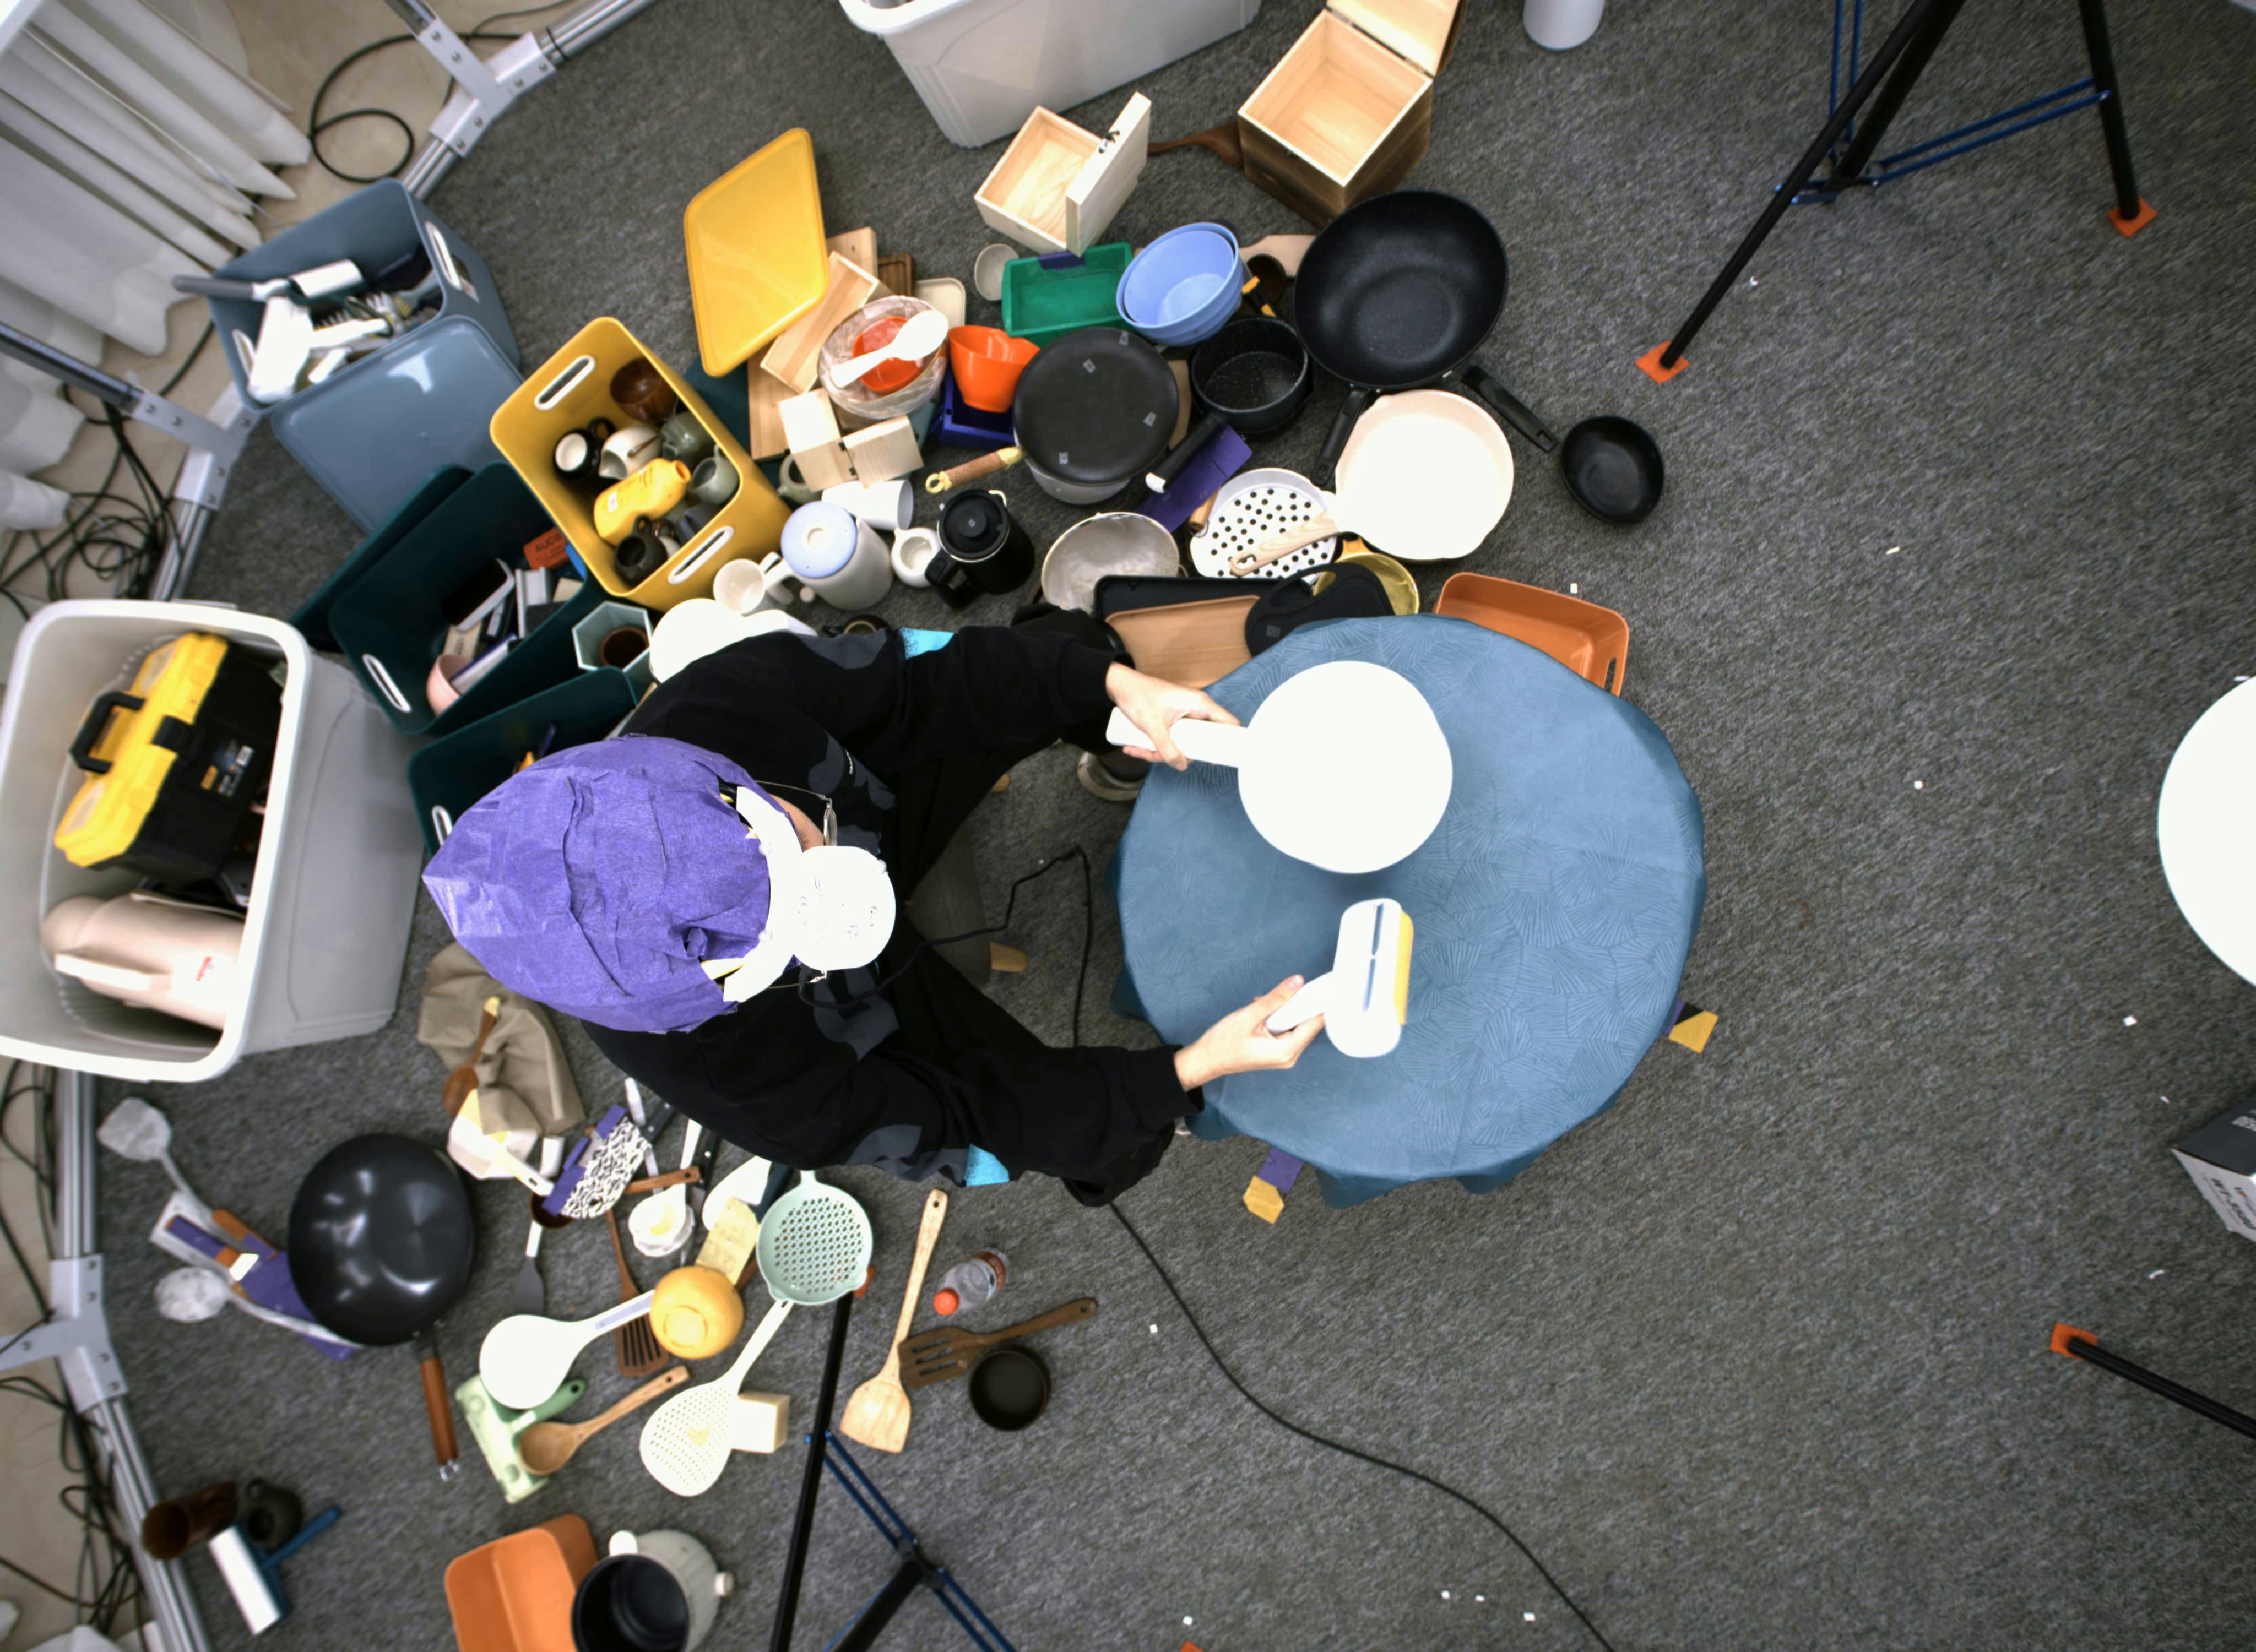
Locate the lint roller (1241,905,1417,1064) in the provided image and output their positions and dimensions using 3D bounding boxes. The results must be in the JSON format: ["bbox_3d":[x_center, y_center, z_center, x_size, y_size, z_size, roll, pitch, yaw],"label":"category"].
[{"bbox_3d":[0.184,0.167,1.350,0.195,0.187,0.075,-19,121,33],"label":"lint roller"}]

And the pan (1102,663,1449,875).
[{"bbox_3d":[0.148,-0.067,1.395,0.355,0.102,0.200,13,85,28],"label":"pan"}]
